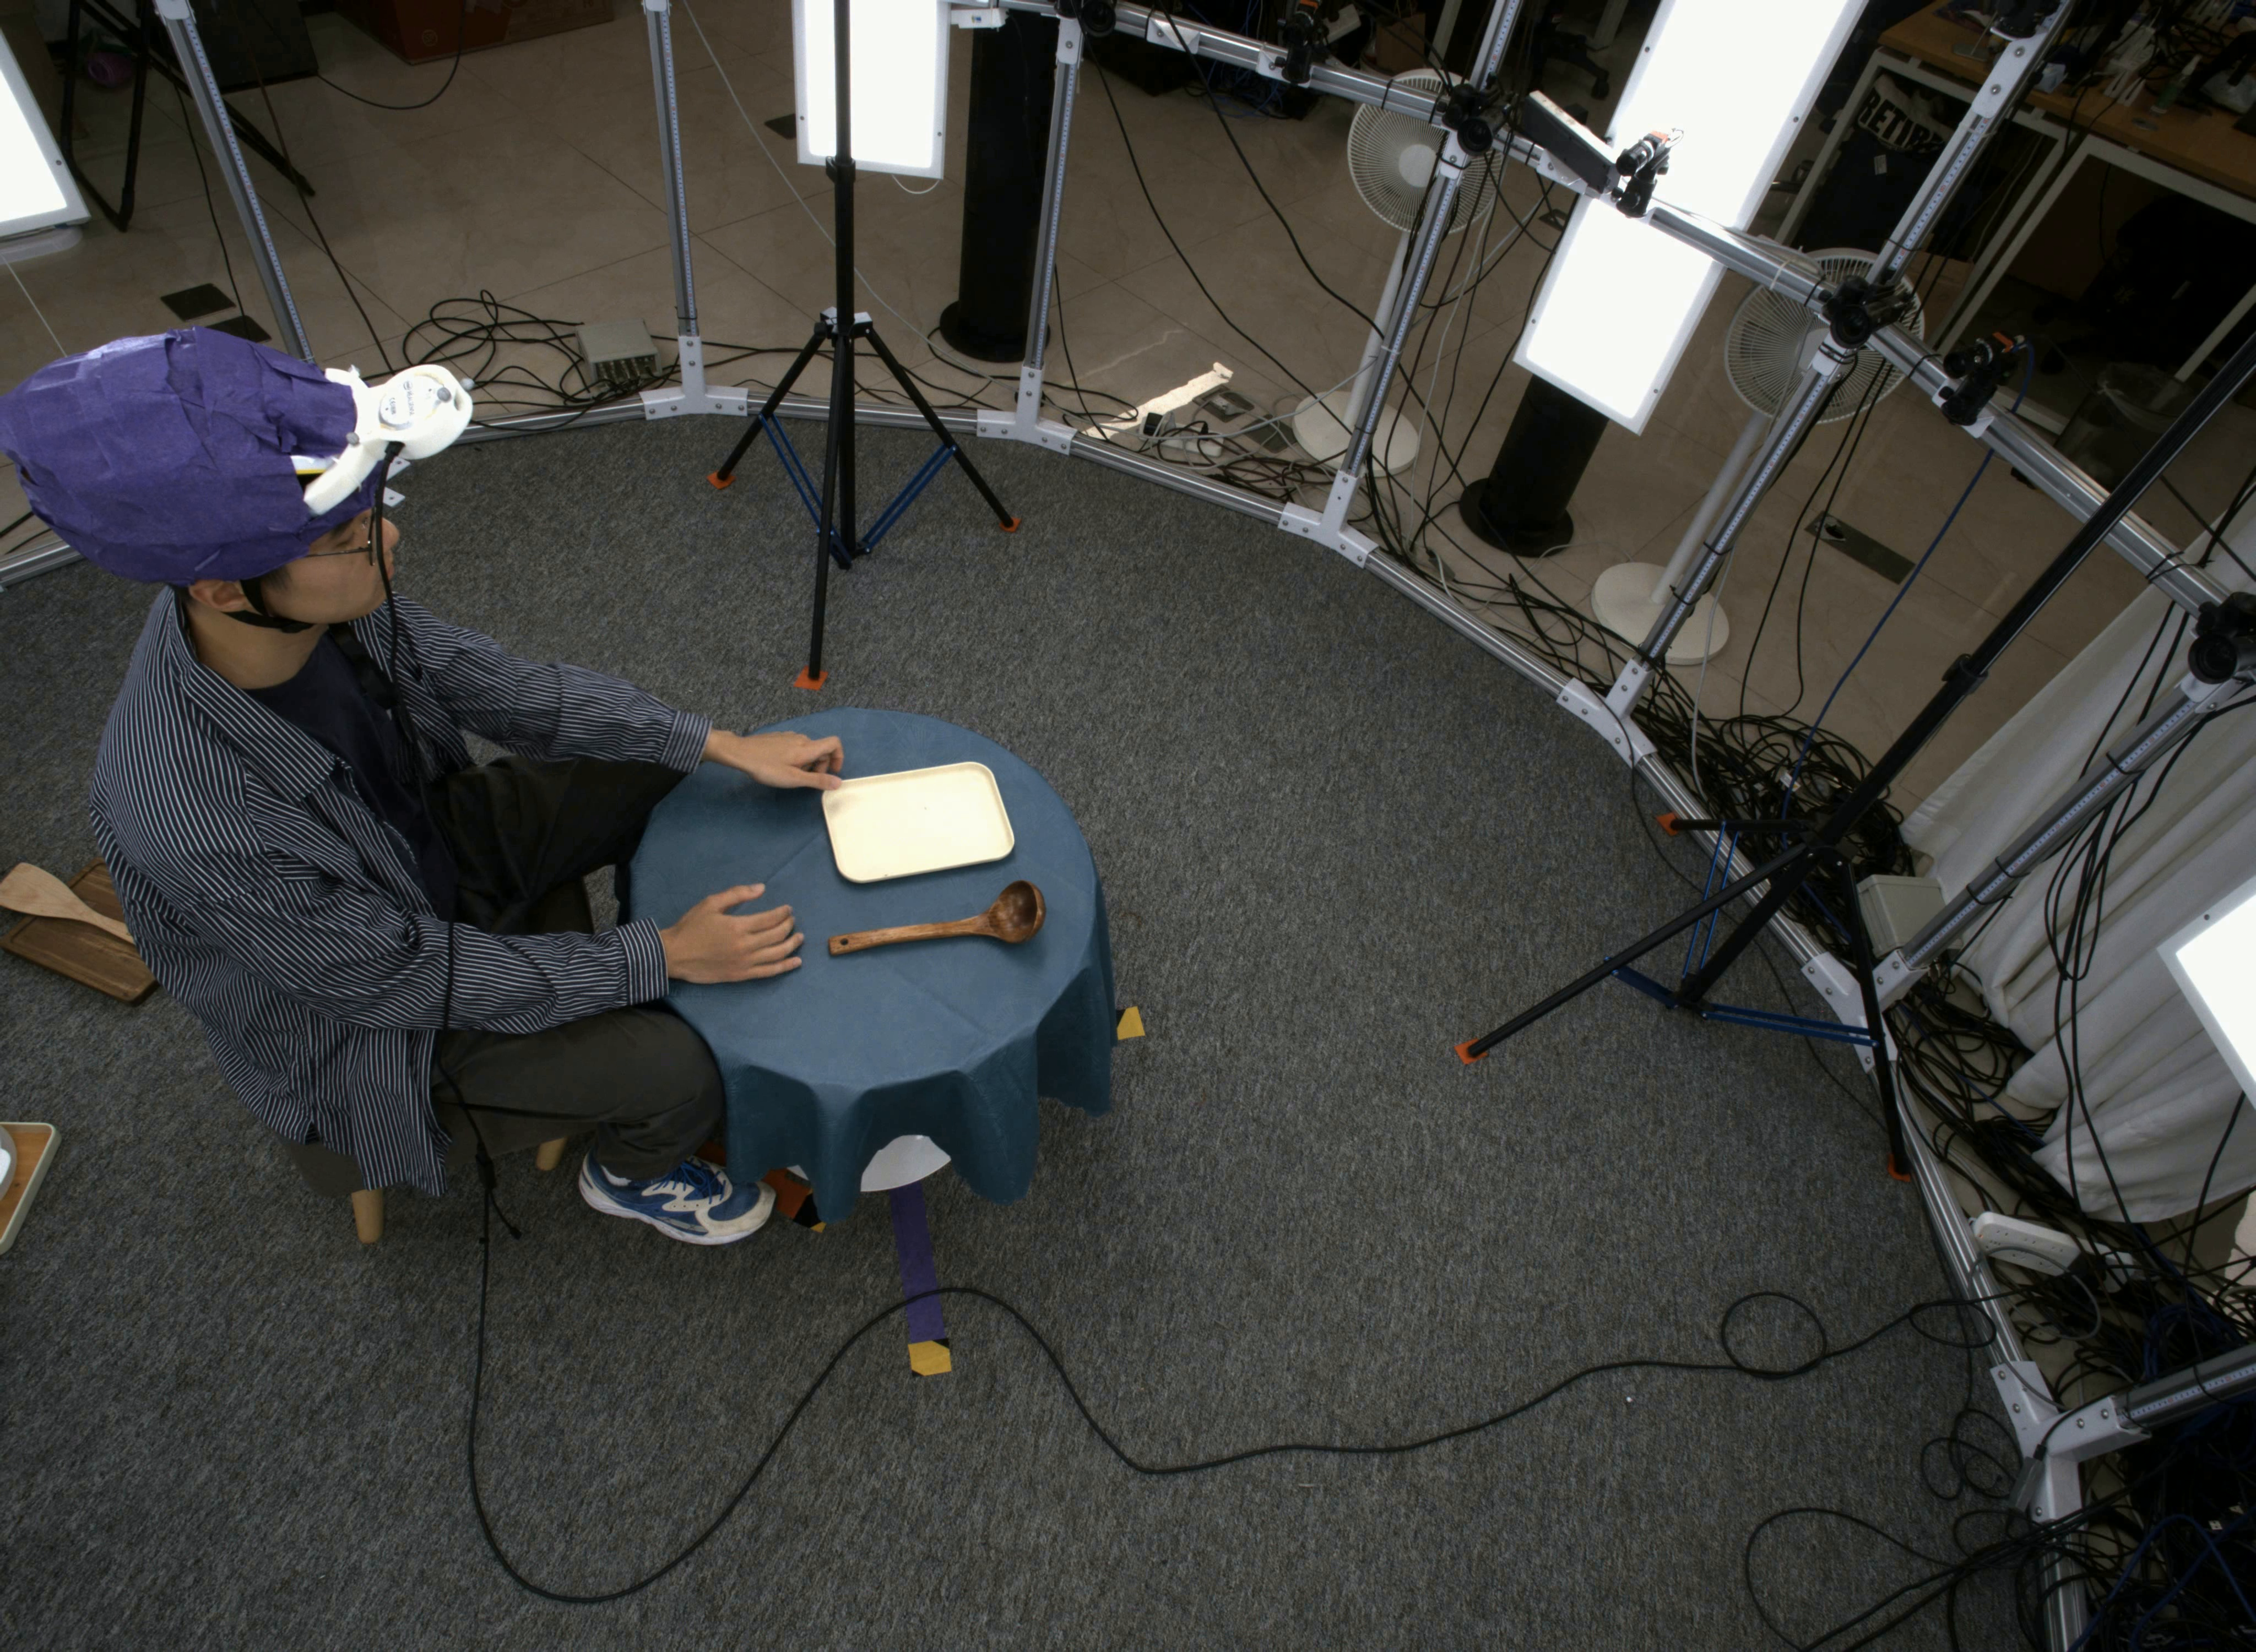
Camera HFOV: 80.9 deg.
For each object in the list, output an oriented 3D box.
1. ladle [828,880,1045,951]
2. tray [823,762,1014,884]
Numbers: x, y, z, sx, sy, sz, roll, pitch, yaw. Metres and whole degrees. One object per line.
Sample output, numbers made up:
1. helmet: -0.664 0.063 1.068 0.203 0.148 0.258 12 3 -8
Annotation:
1. ladle: -0.241 0.120 1.647 0.275 0.078 0.080 -5 58 -17
2. tray: -0.284 -0.005 1.767 0.240 0.018 0.167 -10 57 -20
